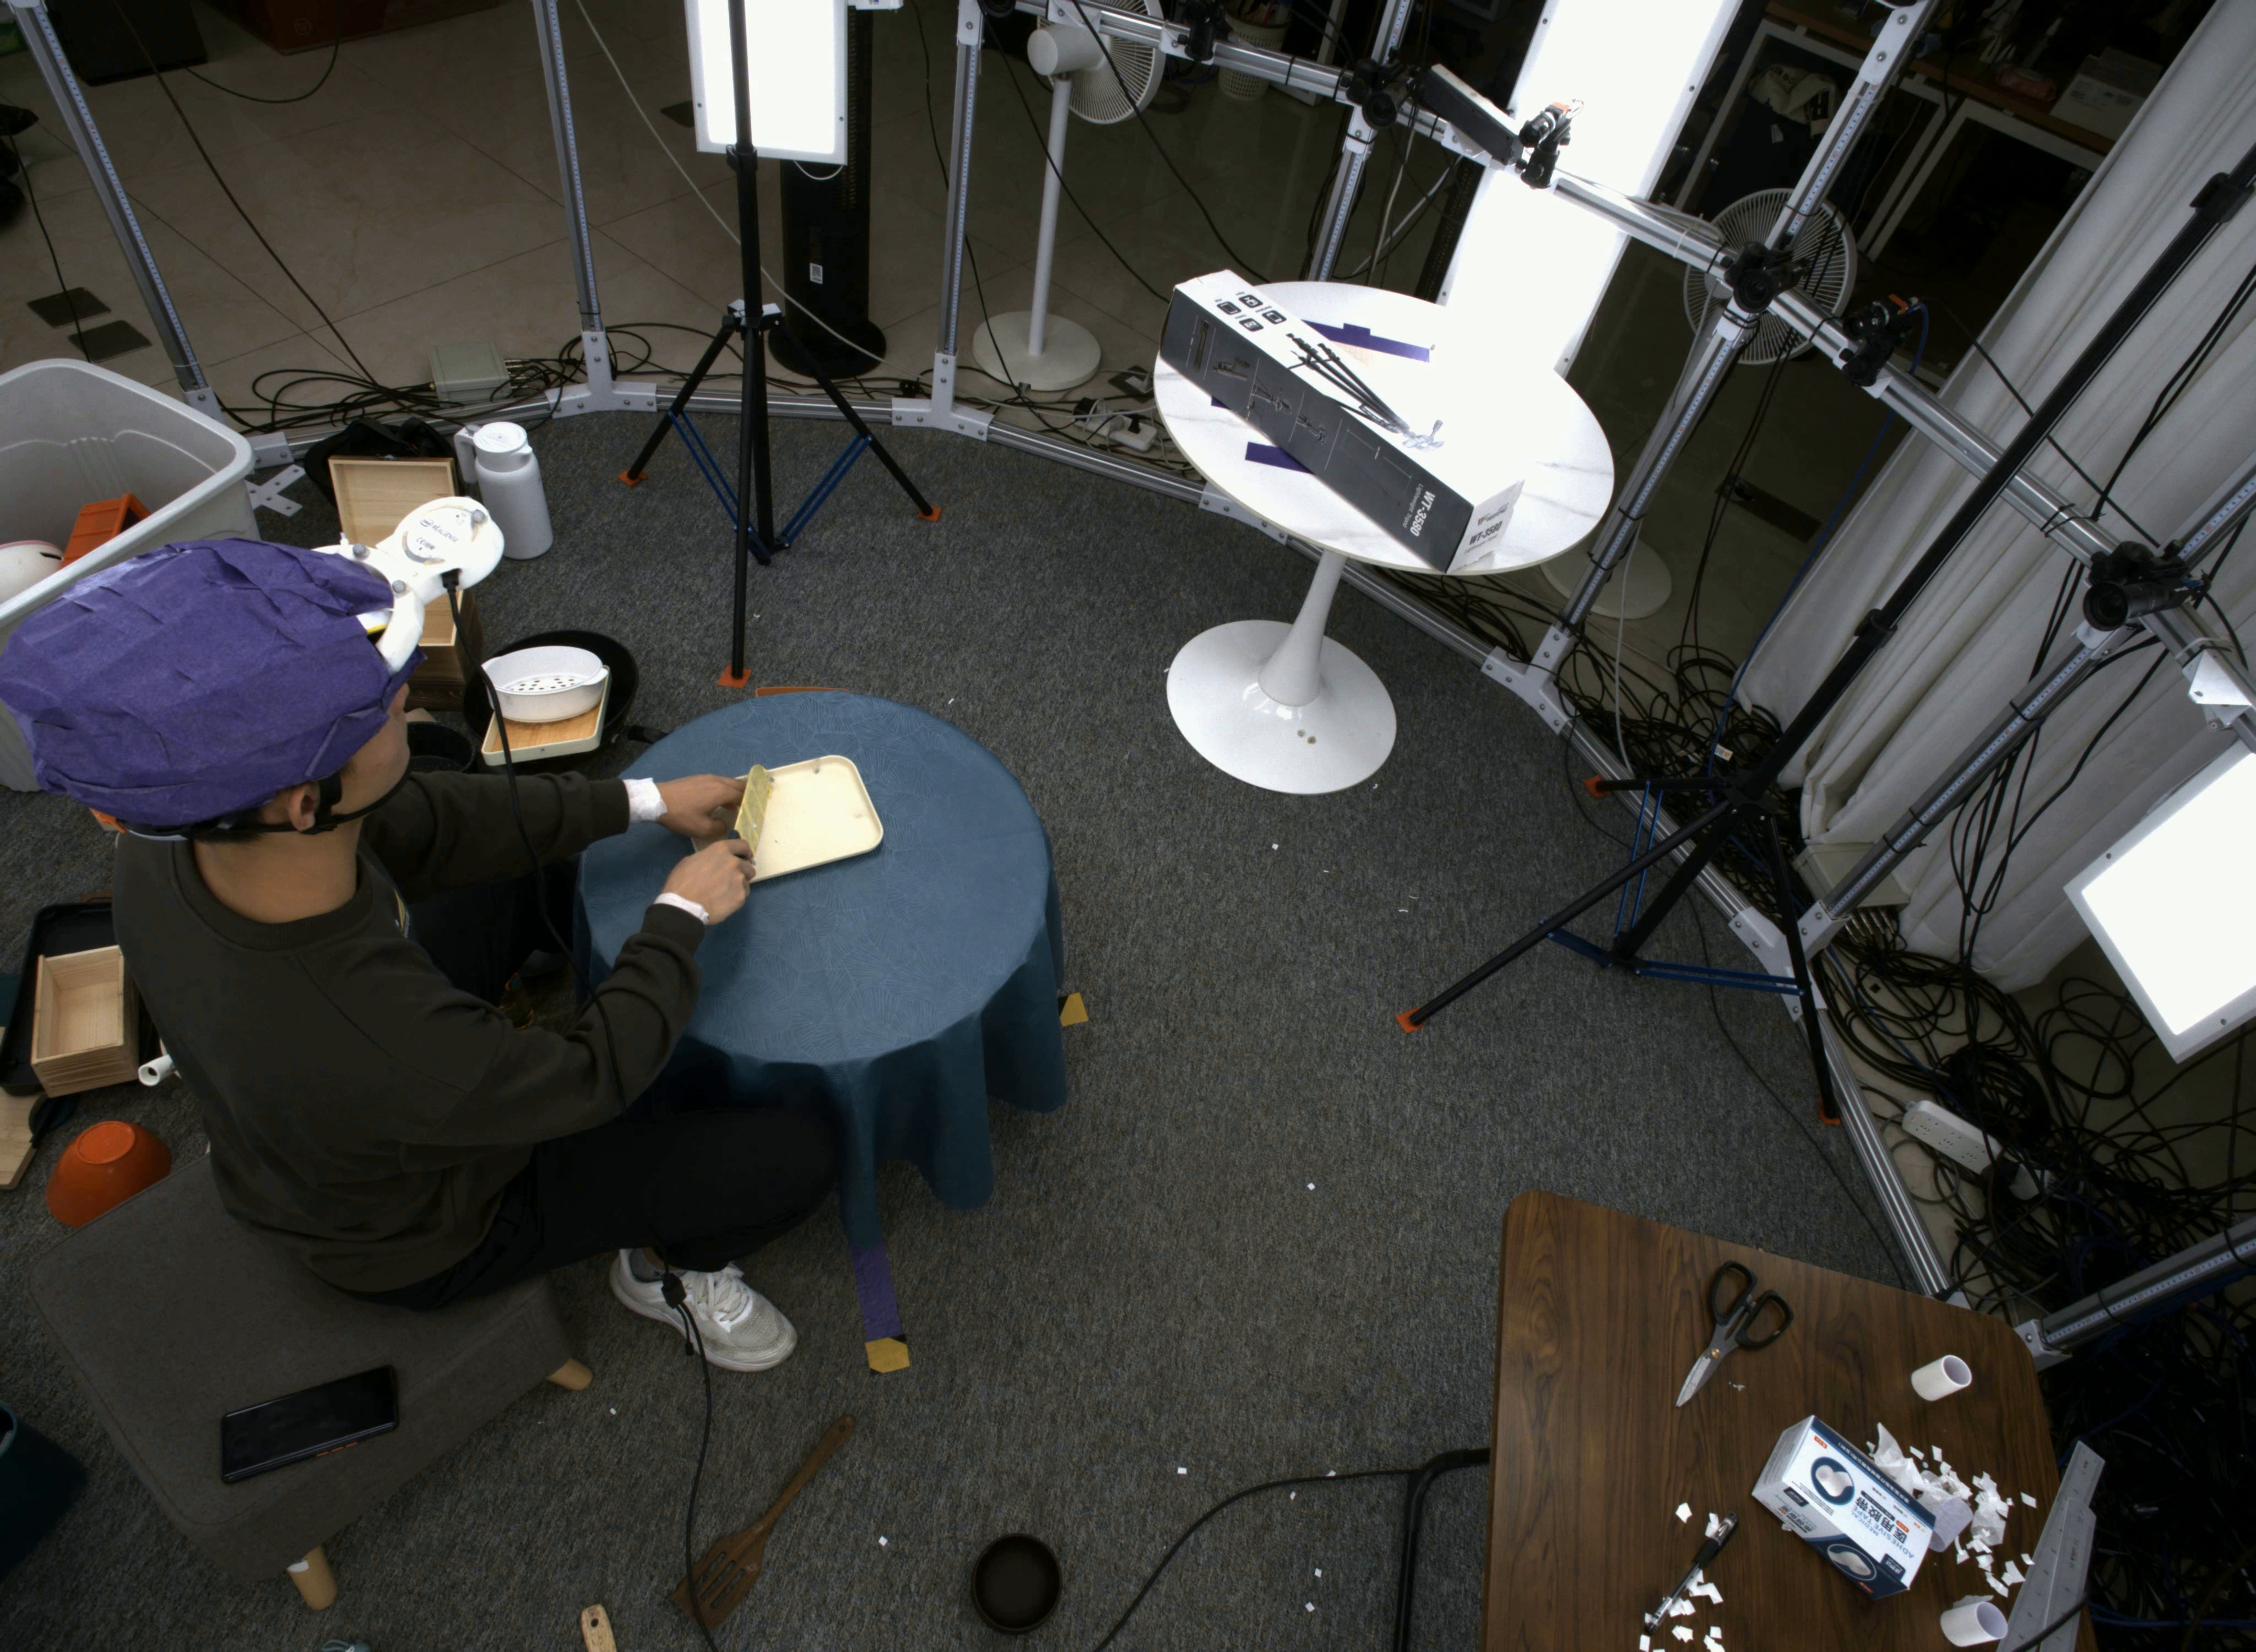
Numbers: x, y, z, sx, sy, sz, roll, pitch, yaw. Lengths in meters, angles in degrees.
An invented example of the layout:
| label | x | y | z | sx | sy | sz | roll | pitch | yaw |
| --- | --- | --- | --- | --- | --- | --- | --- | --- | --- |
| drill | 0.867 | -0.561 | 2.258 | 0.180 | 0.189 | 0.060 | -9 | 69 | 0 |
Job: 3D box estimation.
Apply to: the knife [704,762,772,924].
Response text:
| label | x | y | z | sx | sy | sz | roll | pitch | yaw |
| --- | --- | --- | --- | --- | --- | --- | --- | --- | --- |
| knife | -0.488 | 0.020 | 1.641 | 0.027 | 0.084 | 0.283 | -4 | 43 | 7 |

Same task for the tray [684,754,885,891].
| label | x | y | z | sx | sy | sz | roll | pitch | yaw |
| --- | --- | --- | --- | --- | --- | --- | --- | --- | --- |
| tray | -0.456 | -0.007 | 1.721 | 0.241 | 0.018 | 0.167 | -16 | 60 | -24 |
